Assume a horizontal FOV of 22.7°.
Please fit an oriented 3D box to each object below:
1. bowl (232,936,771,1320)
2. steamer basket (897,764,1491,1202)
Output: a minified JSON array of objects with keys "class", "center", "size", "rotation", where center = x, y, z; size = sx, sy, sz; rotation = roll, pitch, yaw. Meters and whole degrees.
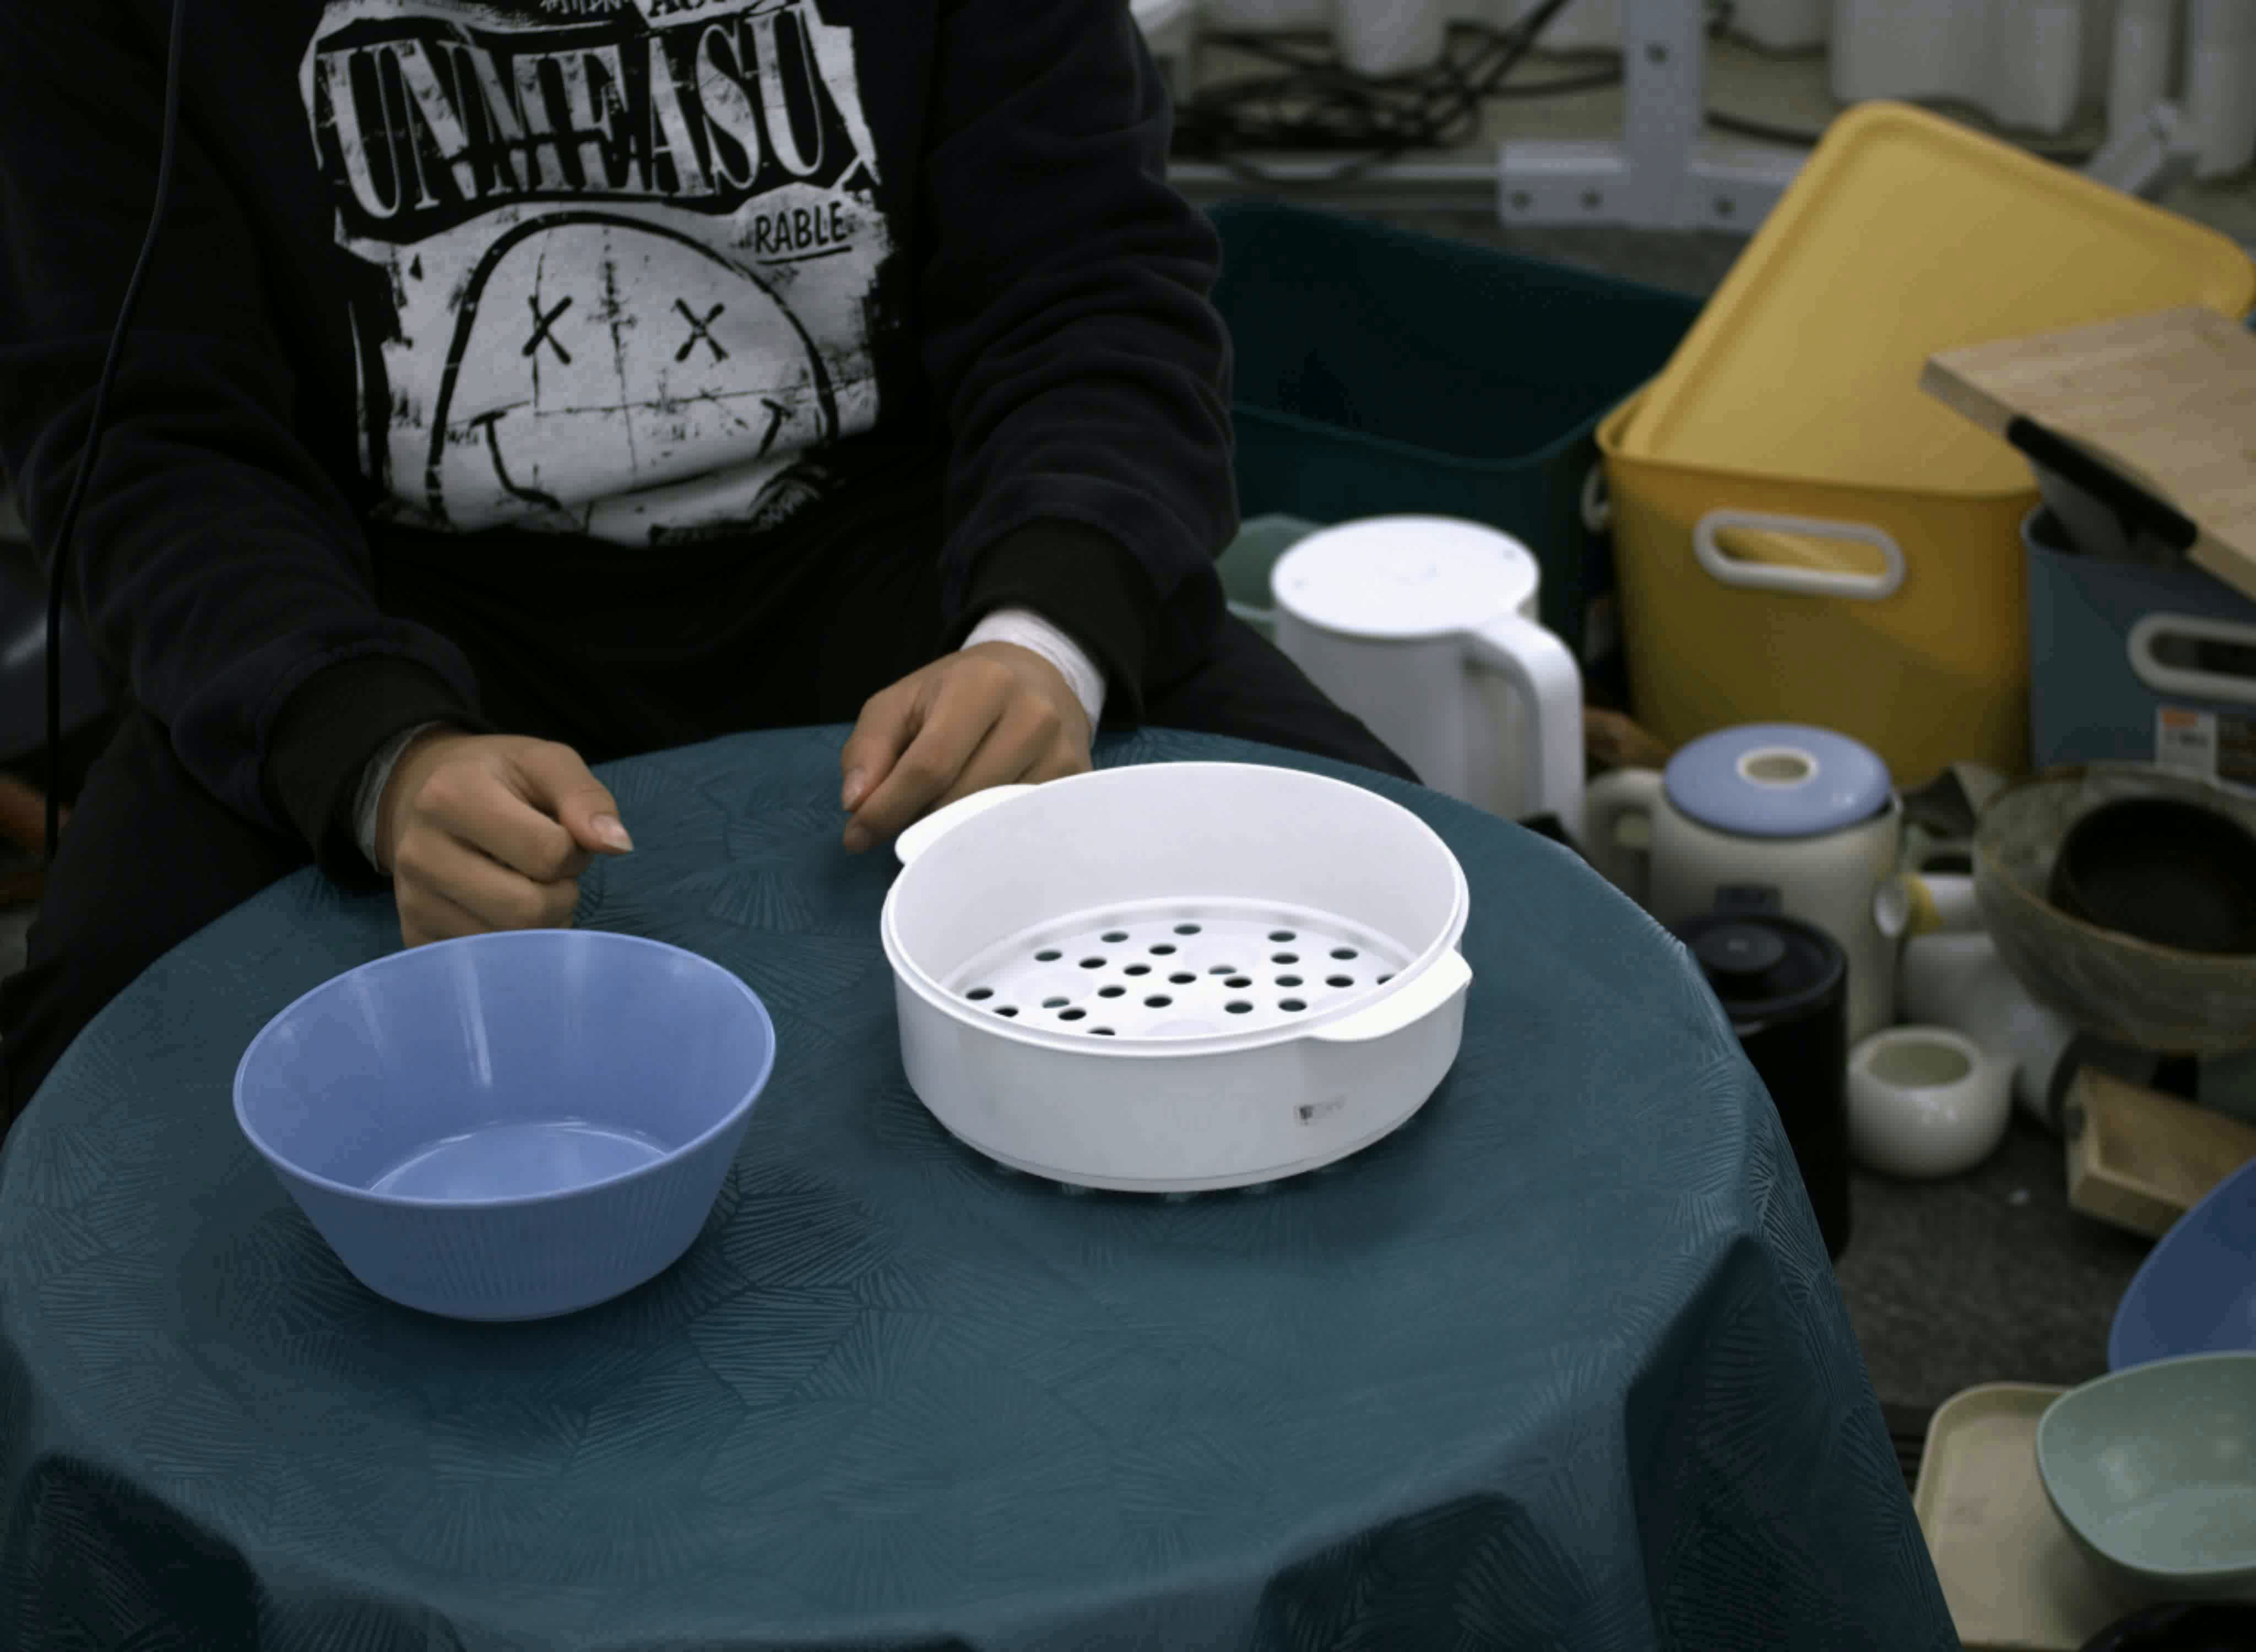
[{"class":"bowl","center":[-0.202,0.105,1.837],"size":[0.175,0.069,0.179],"rotation":[-1,27,1]},{"class":"steamer basket","center":[0.022,0.054,1.917],"size":[0.230,0.068,0.204],"rotation":[23,37,37]}]
